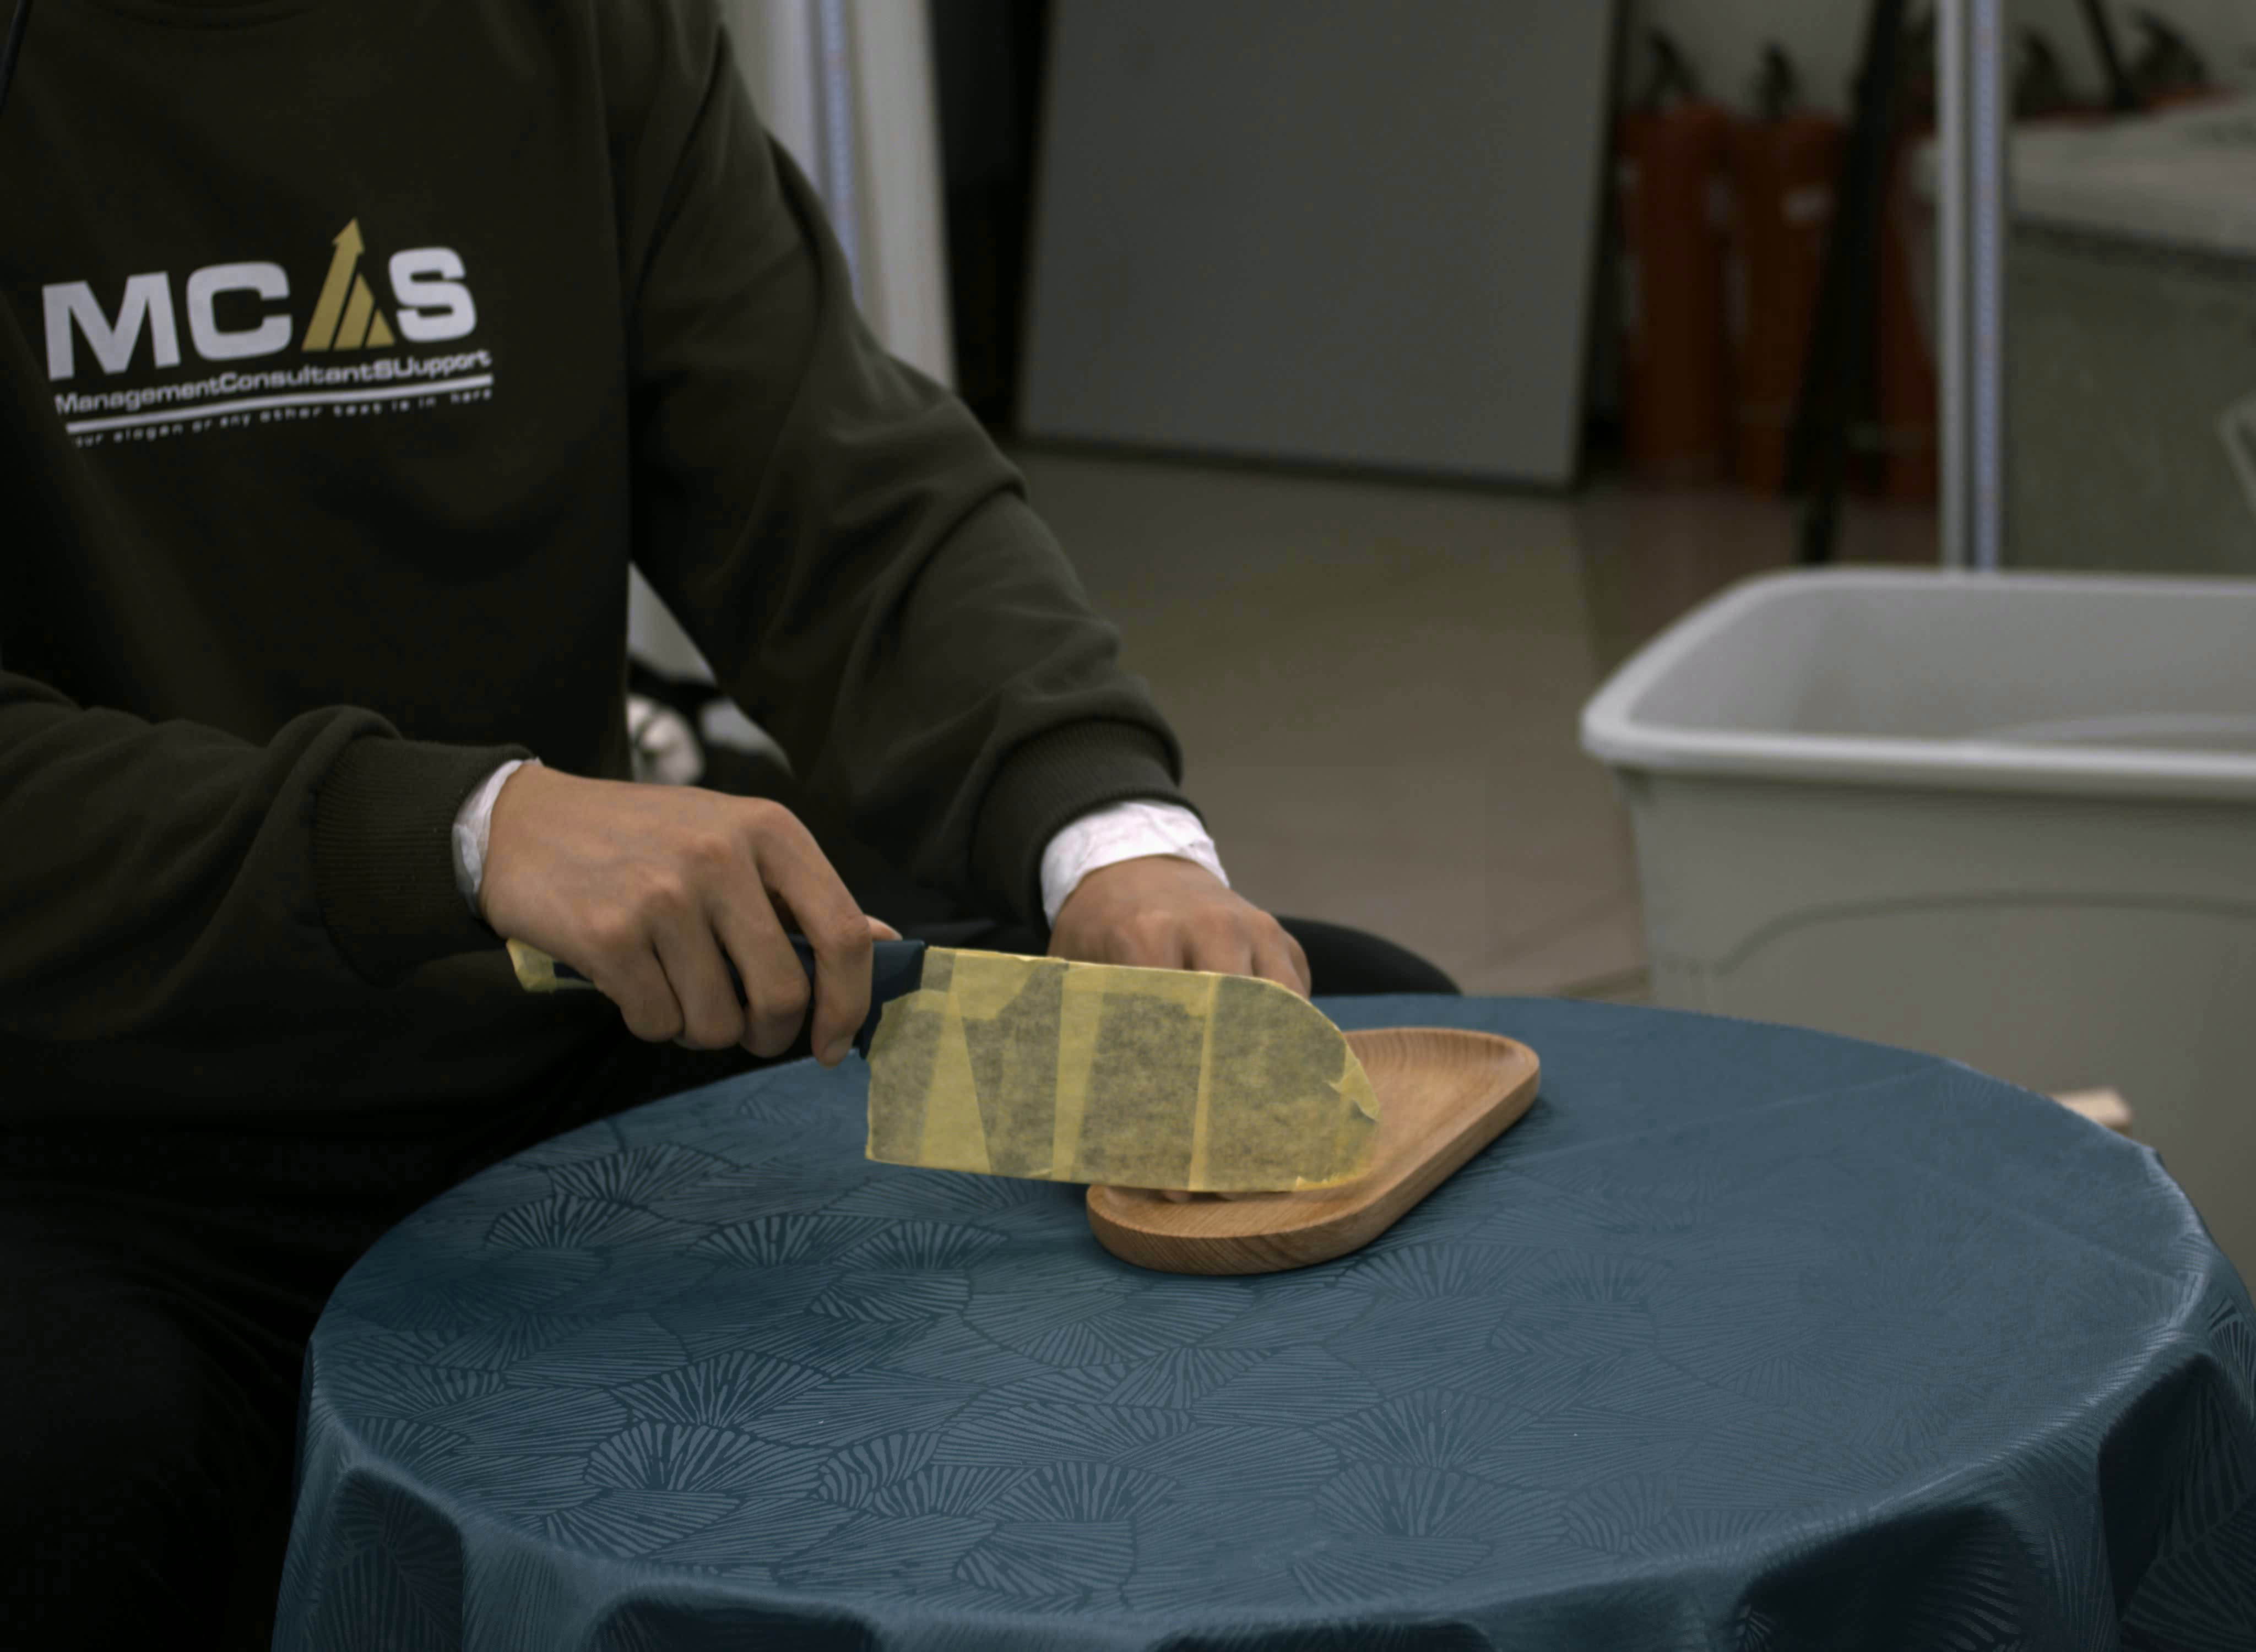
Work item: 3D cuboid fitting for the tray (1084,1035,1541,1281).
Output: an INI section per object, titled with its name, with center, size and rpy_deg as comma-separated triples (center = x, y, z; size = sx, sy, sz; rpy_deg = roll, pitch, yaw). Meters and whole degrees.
[tray]
center = 0.064, 0.108, 1.778
size = 0.102, 0.020, 0.228
rpy_deg = 1, 16, 26

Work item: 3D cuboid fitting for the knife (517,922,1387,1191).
[knife]
center = -0.057, 0.073, 1.736
size = 0.286, 0.082, 0.027
rpy_deg = 8, 4, 5
